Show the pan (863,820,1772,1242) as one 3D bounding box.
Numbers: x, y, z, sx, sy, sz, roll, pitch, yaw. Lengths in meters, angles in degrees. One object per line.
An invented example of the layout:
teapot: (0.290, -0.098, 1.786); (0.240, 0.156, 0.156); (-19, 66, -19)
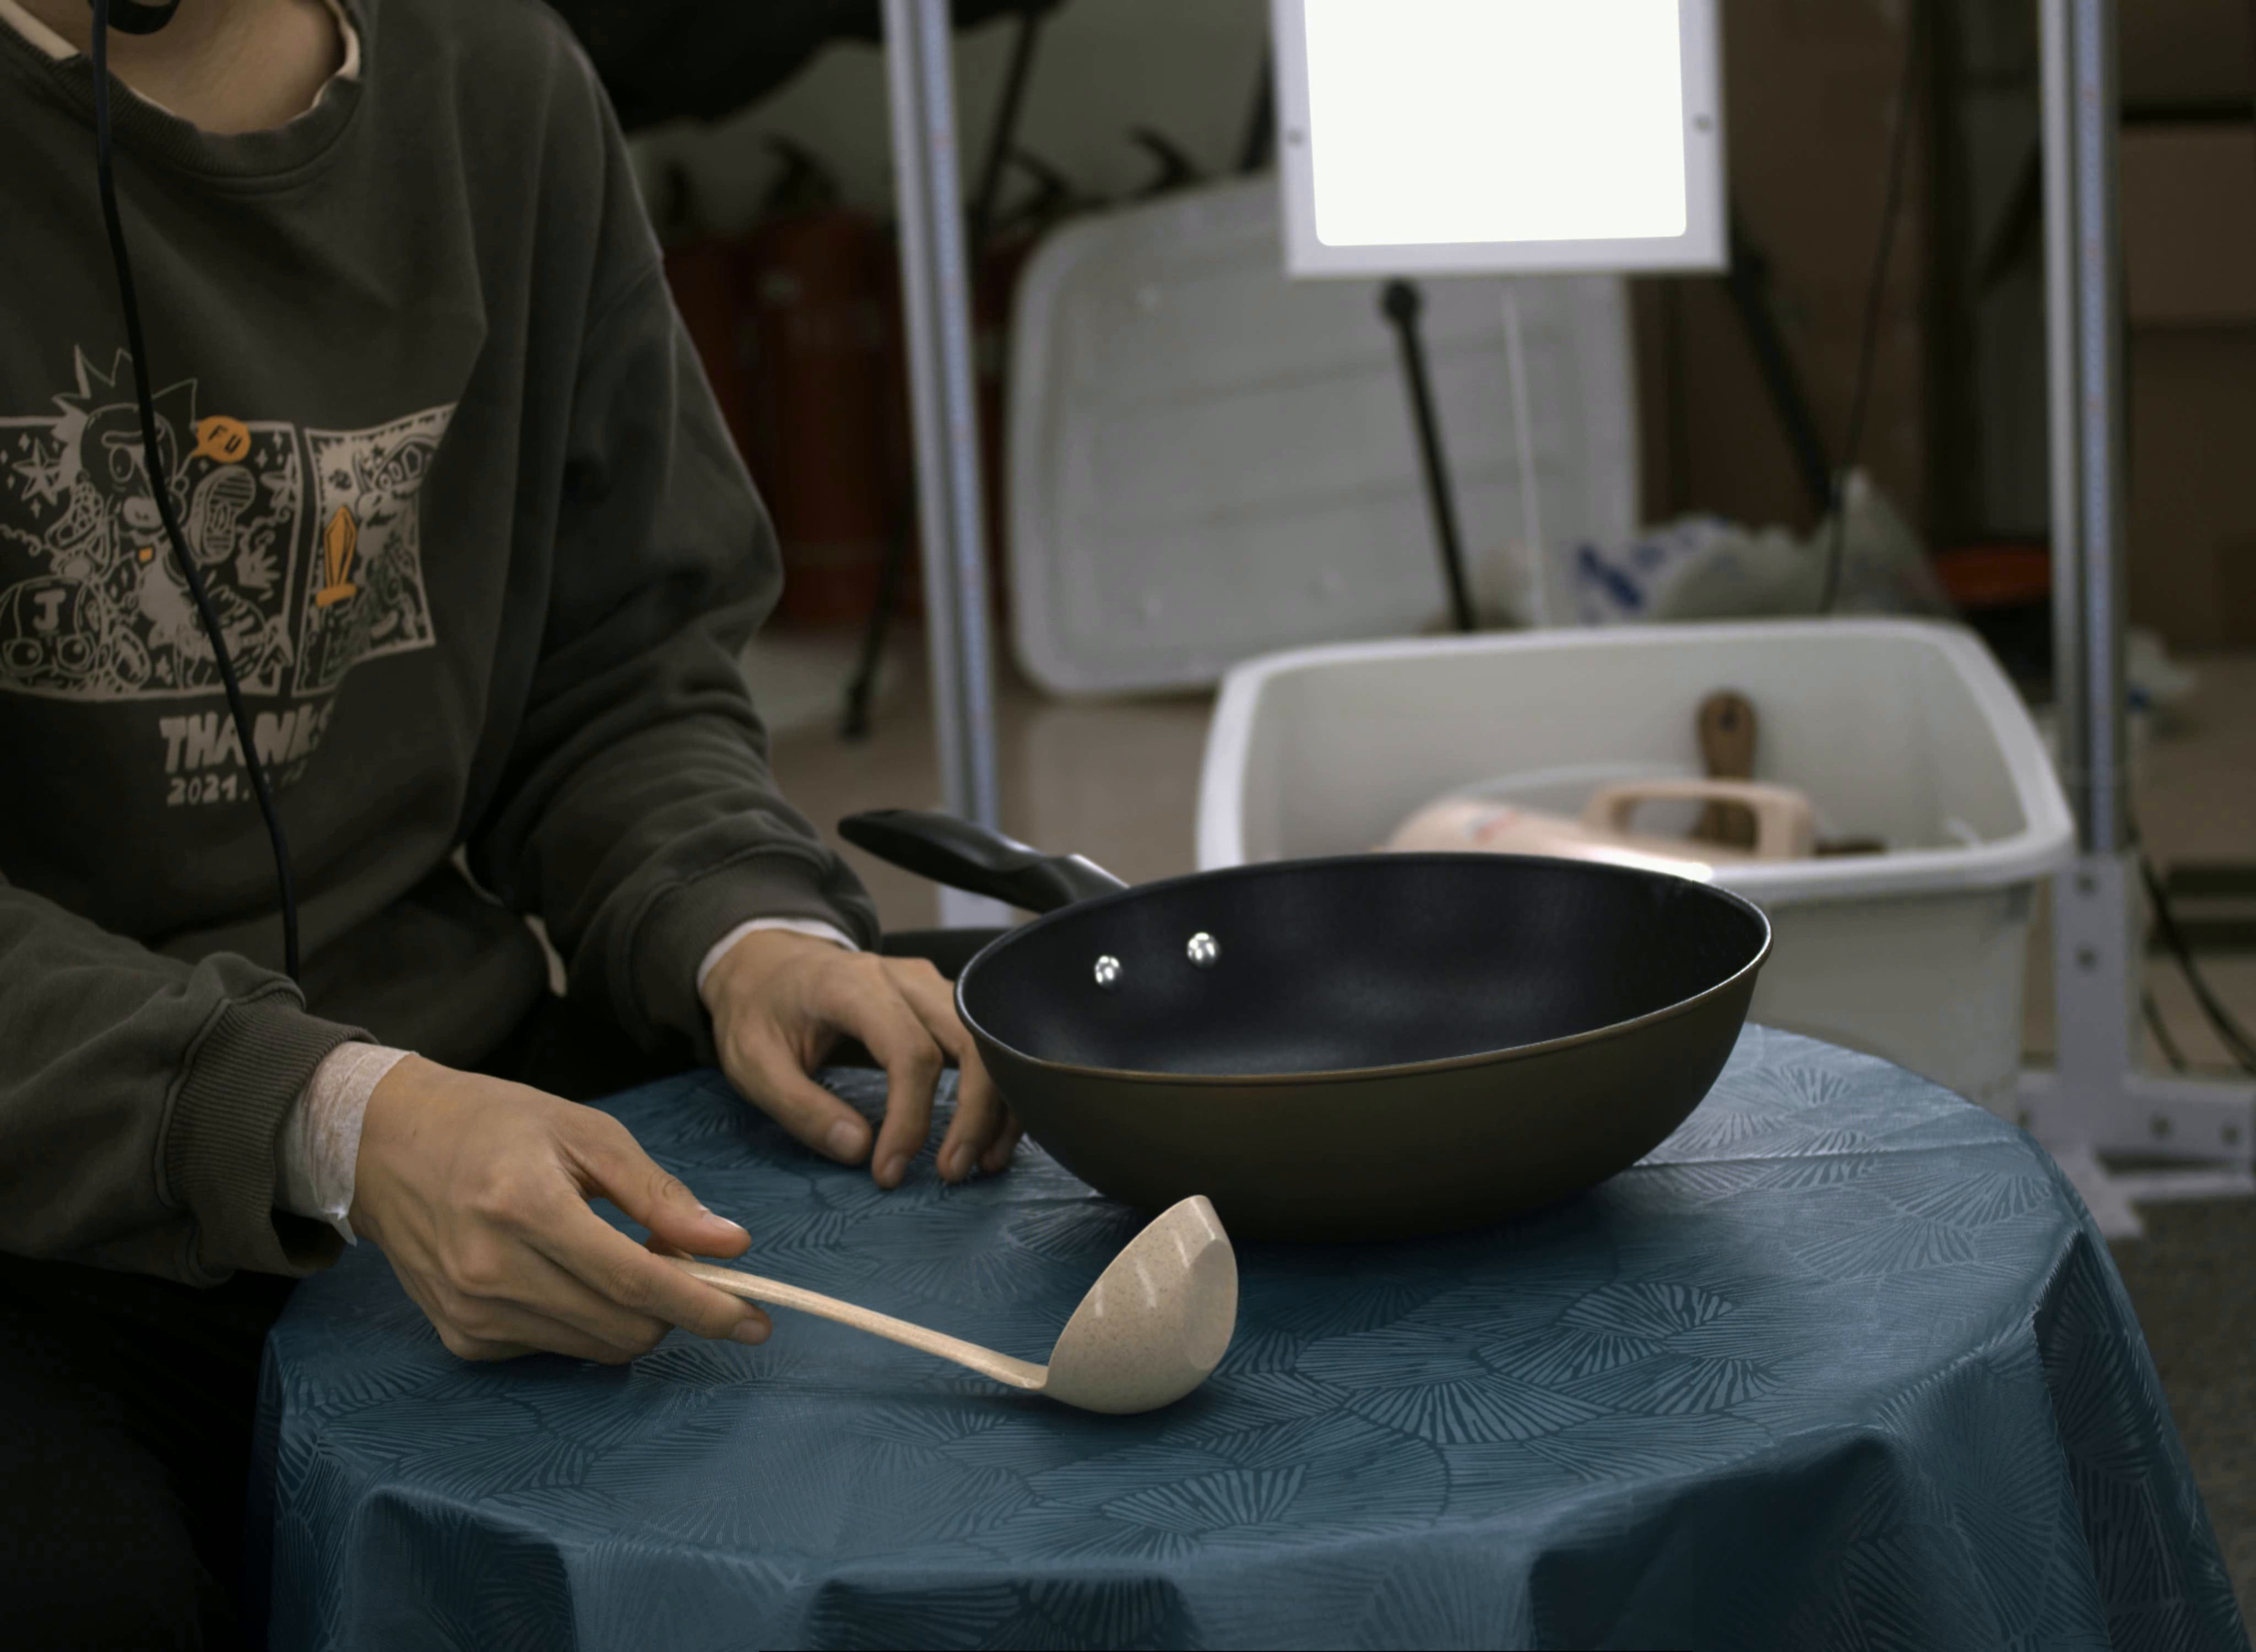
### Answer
pan: (0.030, 0.067, 1.952); (0.281, 0.087, 0.472); (-14, 15, -31)

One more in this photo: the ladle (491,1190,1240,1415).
ladle: (-0.087, 0.127, 1.720); (0.258, 0.073, 0.070); (11, 15, 25)
